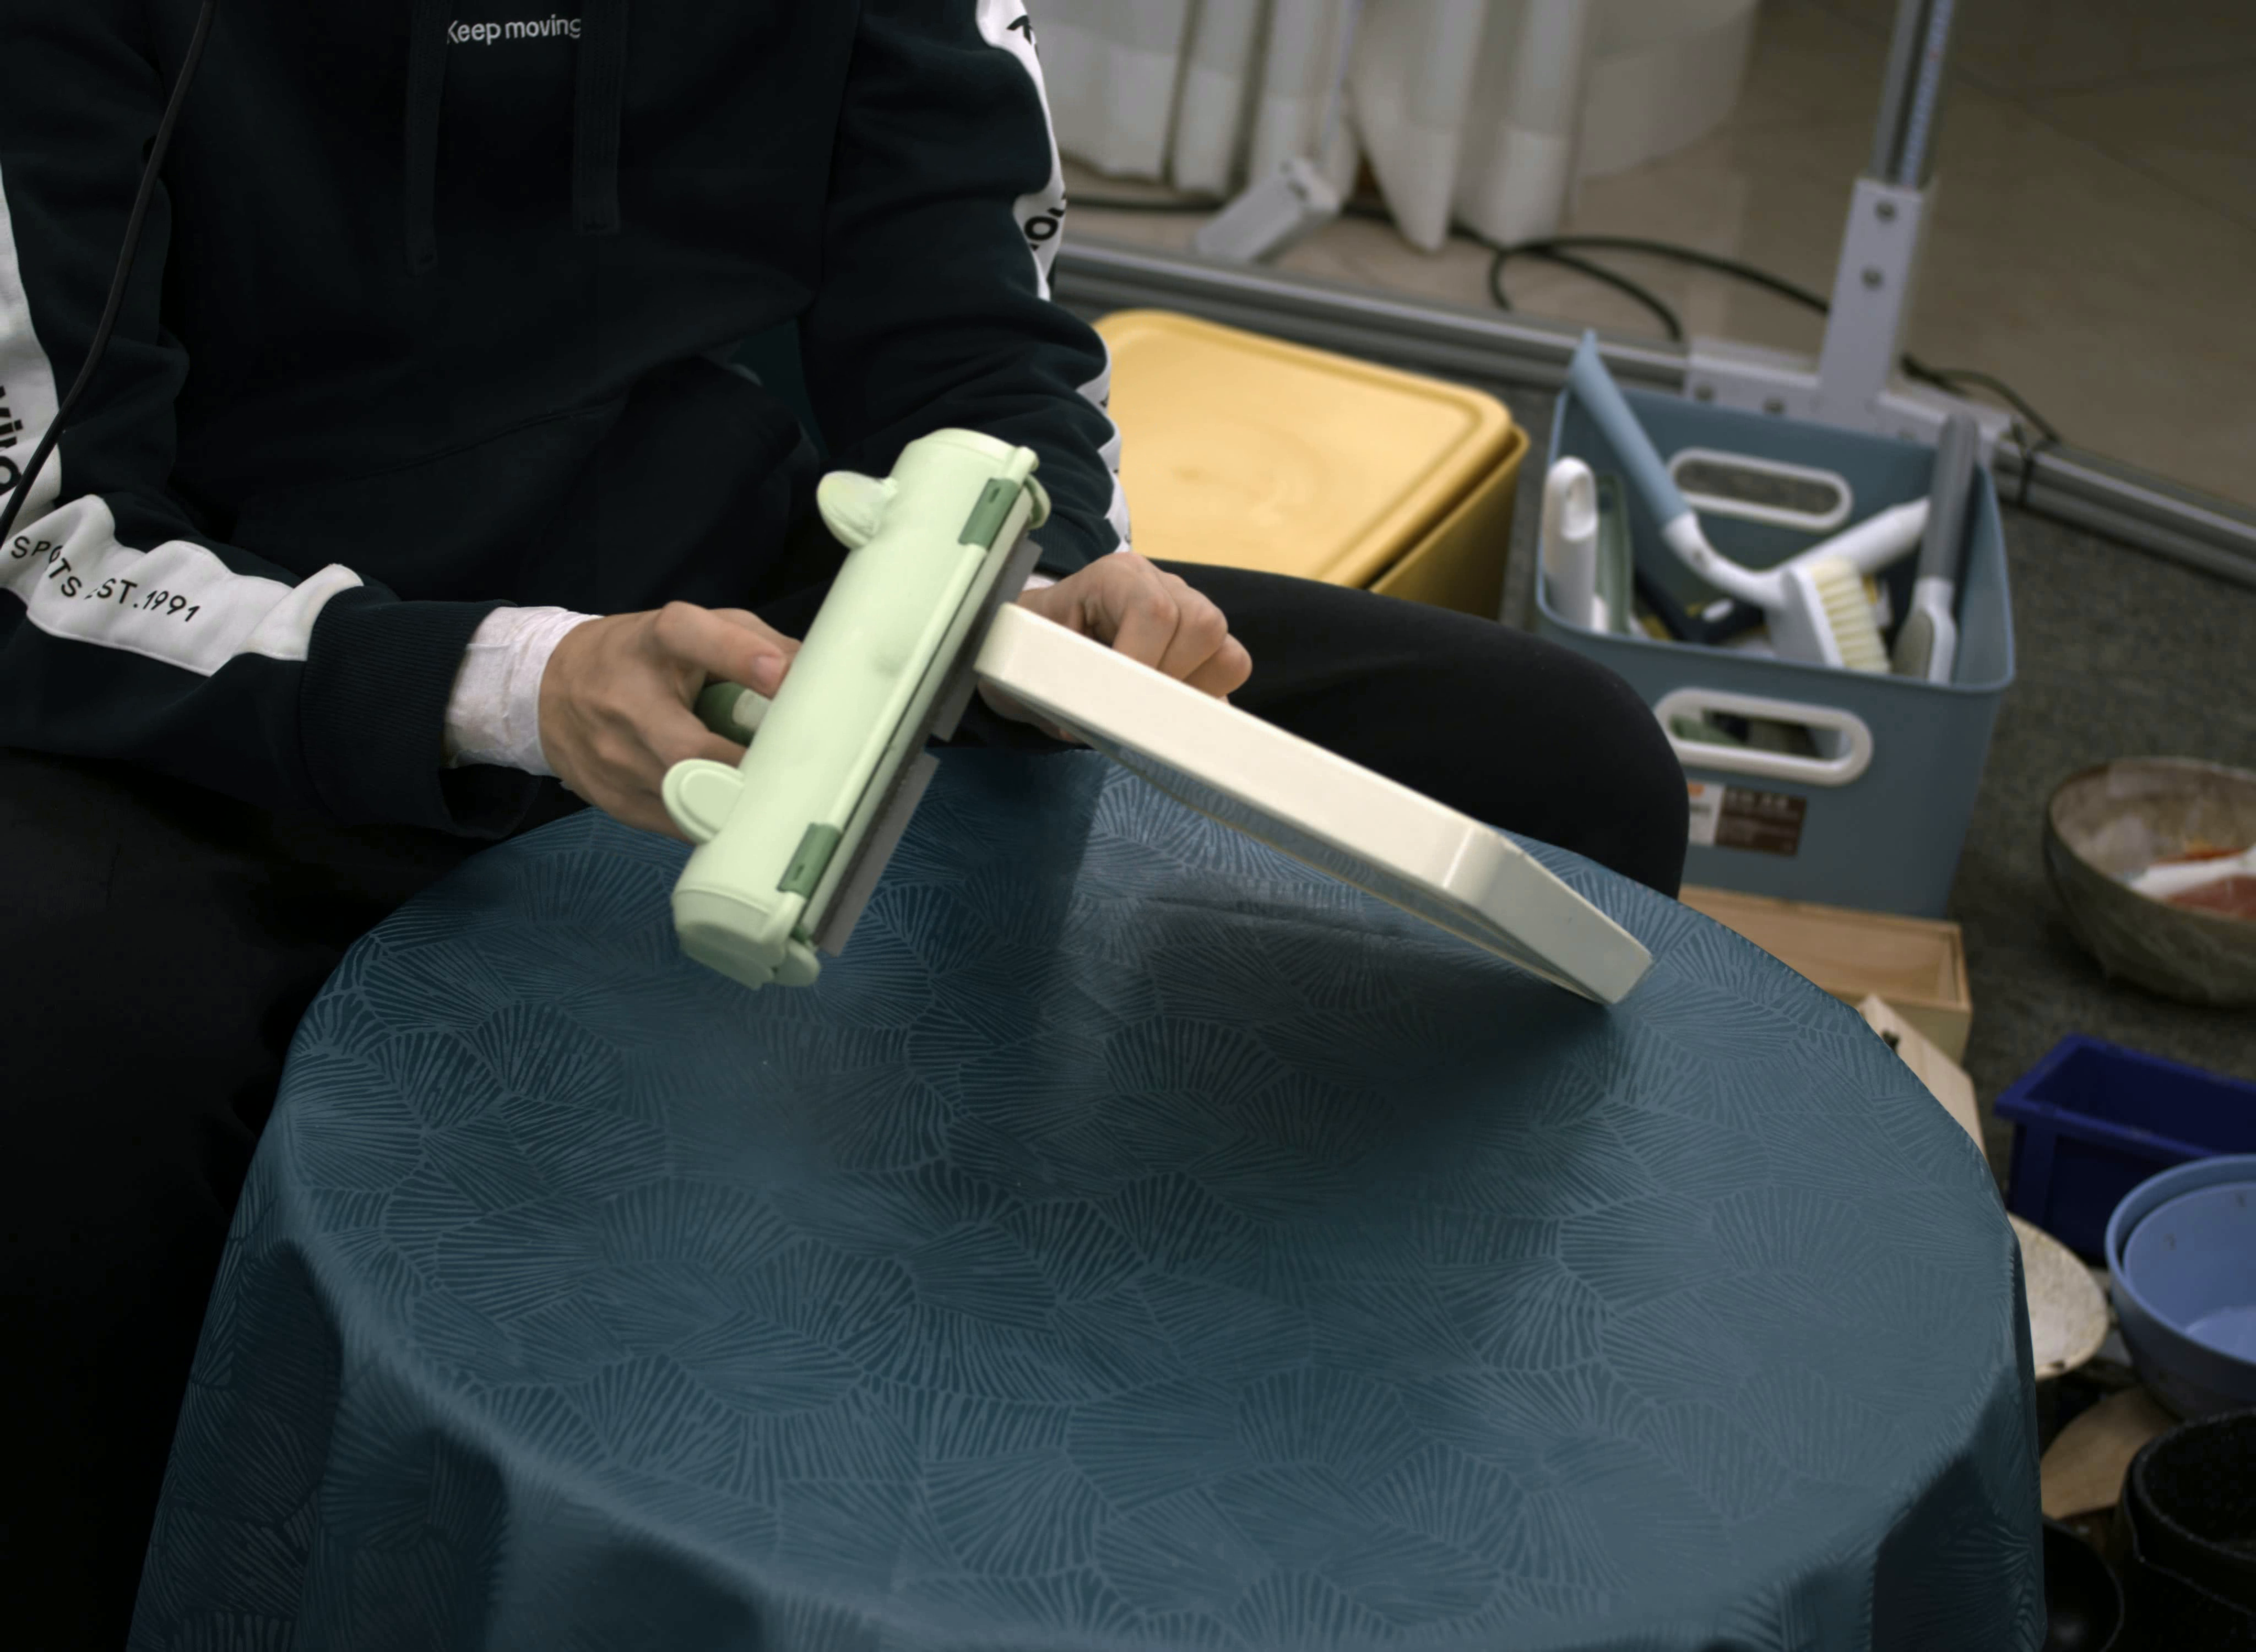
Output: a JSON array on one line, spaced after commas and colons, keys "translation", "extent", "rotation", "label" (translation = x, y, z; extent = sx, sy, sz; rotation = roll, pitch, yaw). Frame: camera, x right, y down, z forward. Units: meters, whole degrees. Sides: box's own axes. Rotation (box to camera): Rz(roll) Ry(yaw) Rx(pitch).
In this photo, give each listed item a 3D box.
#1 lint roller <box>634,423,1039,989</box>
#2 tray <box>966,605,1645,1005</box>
[{"translation": [-0.129, -0.044, 1.783], "extent": [0.184, 0.081, 0.199], "rotation": [-1, 57, 50], "label": "lint roller"}, {"translation": [0.067, -0.003, 1.842], "extent": [0.192, 0.027, 0.298], "rotation": [25, -2, 18], "label": "tray"}]
